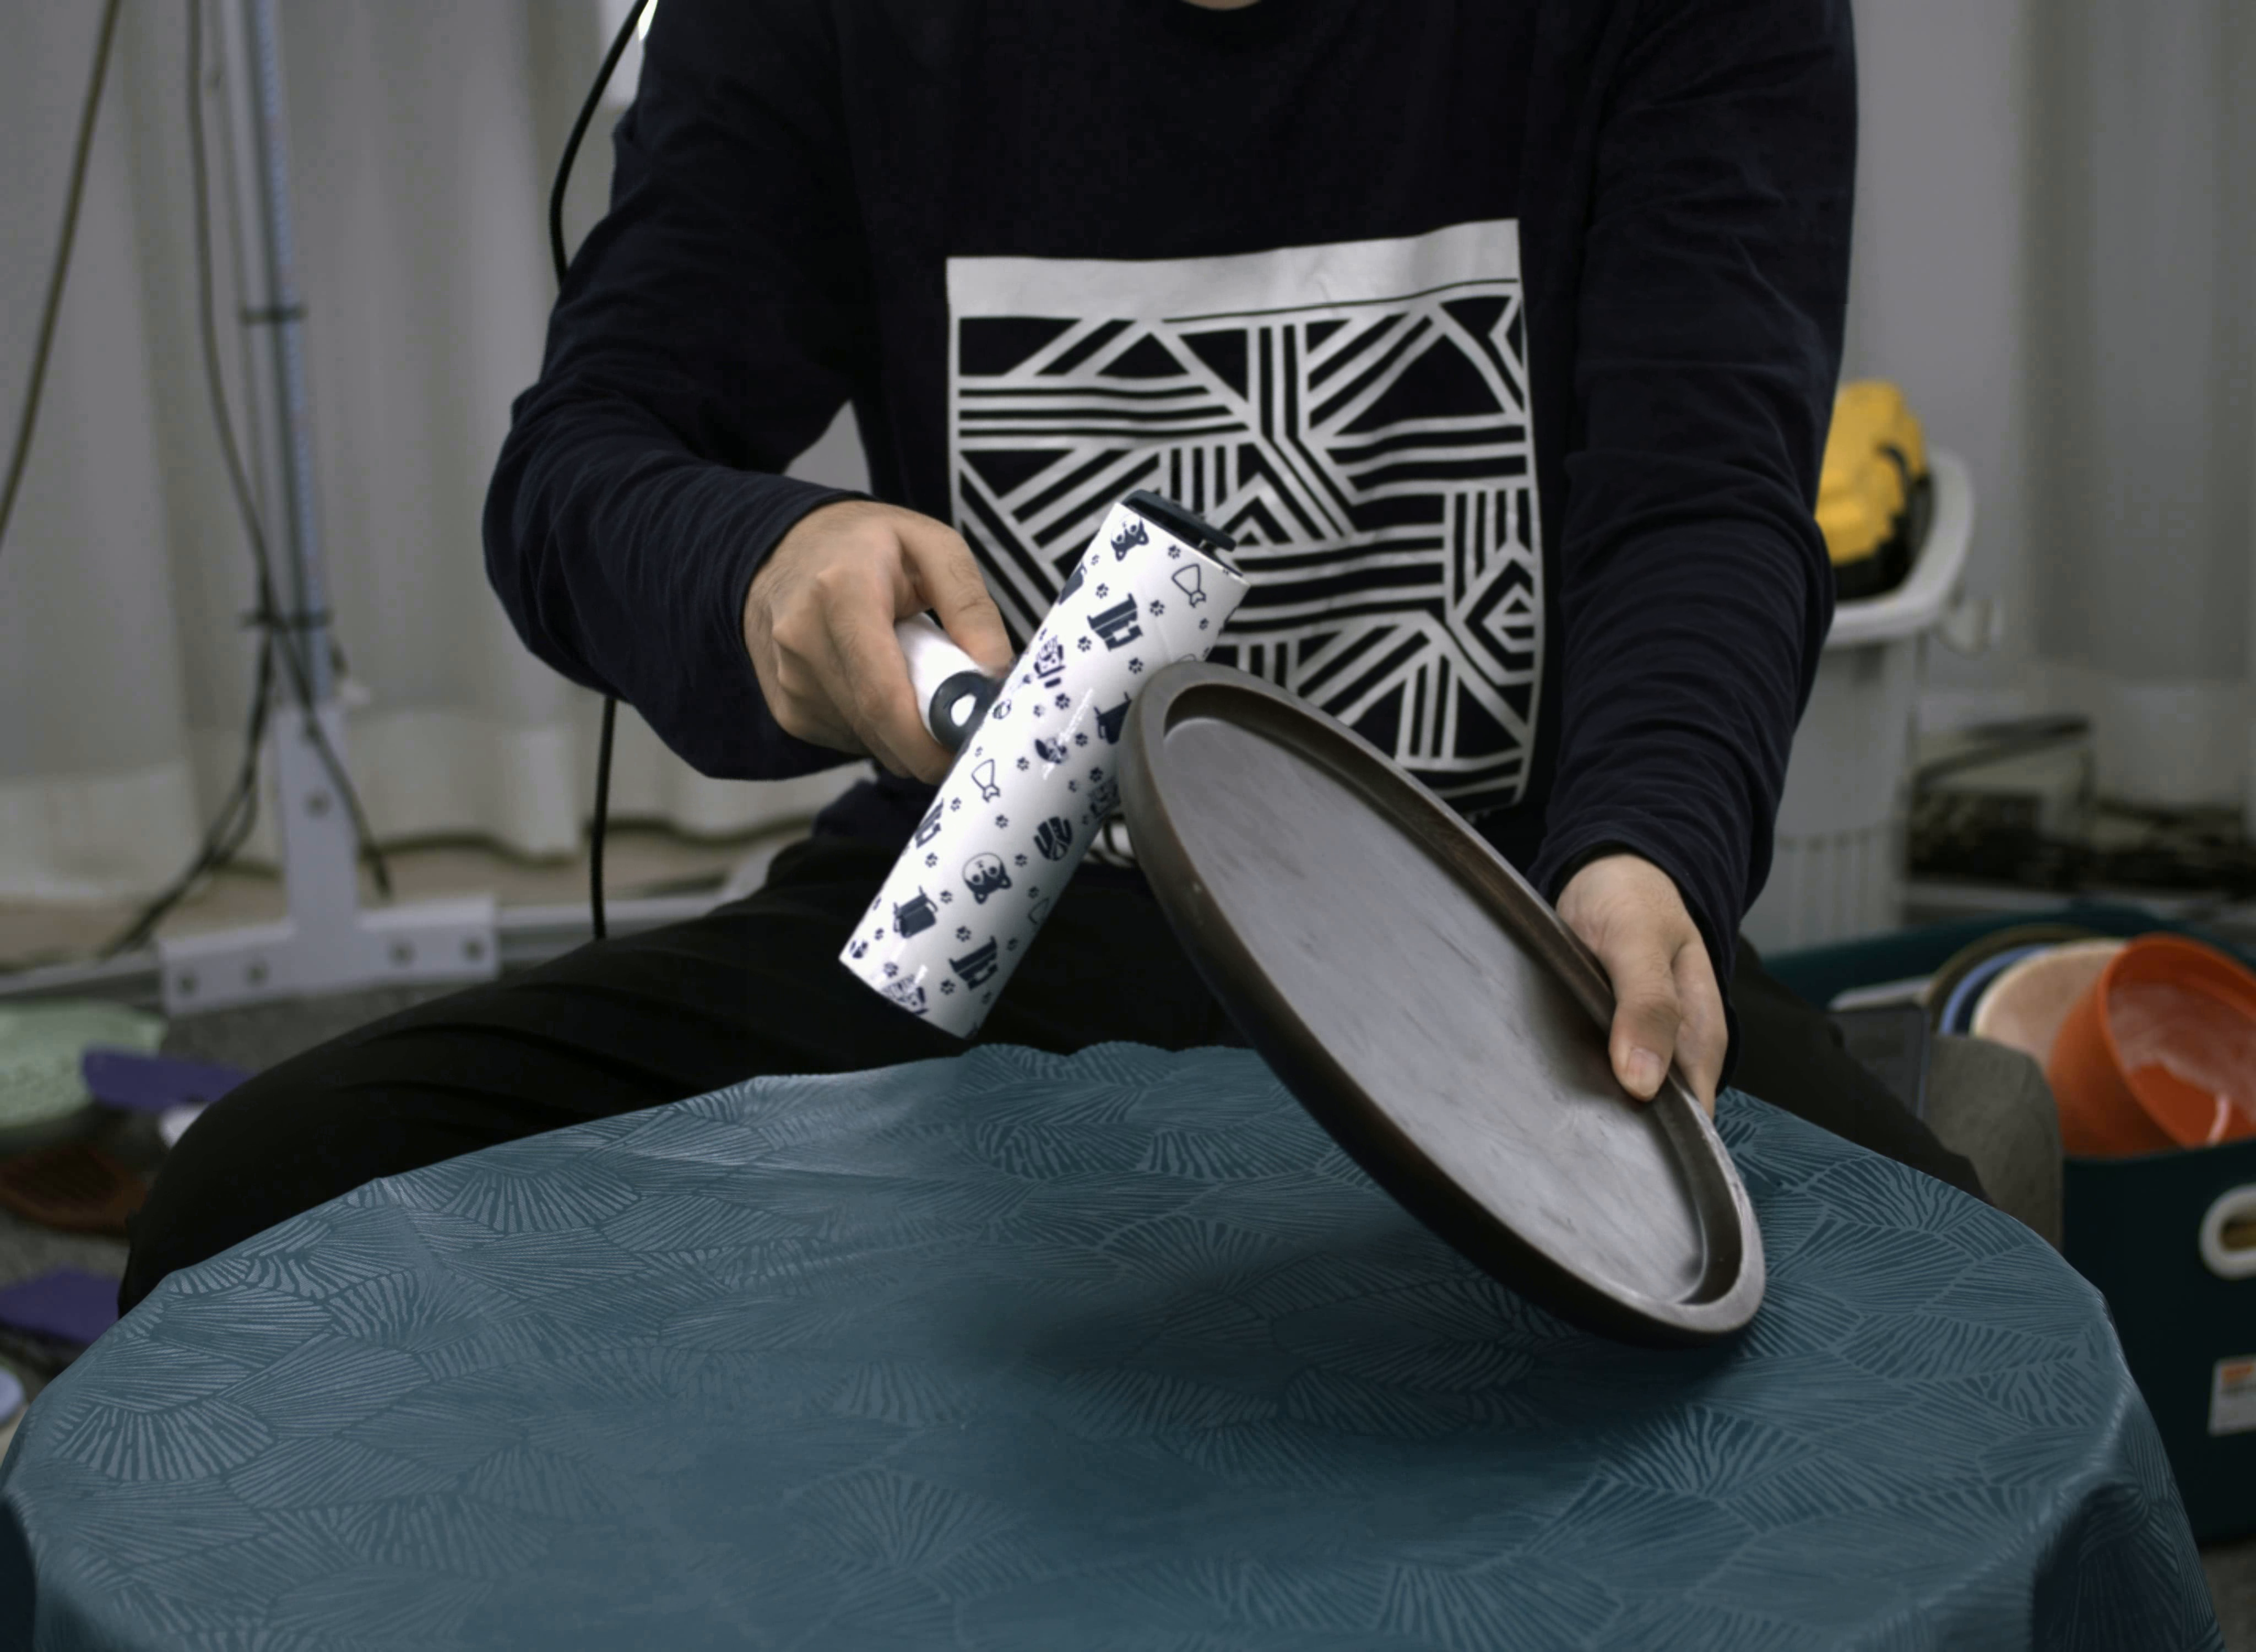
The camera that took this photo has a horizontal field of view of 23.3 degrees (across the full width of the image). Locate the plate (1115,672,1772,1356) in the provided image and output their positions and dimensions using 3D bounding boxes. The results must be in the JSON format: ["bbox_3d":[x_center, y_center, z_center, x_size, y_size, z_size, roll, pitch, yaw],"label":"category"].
[{"bbox_3d":[0.089,0.054,1.569,0.029,0.254,0.256,-43,4,17],"label":"plate"}]

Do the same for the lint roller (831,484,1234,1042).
[{"bbox_3d":[-0.054,-0.037,1.710,0.050,0.176,0.249,30,2,-19],"label":"lint roller"}]
